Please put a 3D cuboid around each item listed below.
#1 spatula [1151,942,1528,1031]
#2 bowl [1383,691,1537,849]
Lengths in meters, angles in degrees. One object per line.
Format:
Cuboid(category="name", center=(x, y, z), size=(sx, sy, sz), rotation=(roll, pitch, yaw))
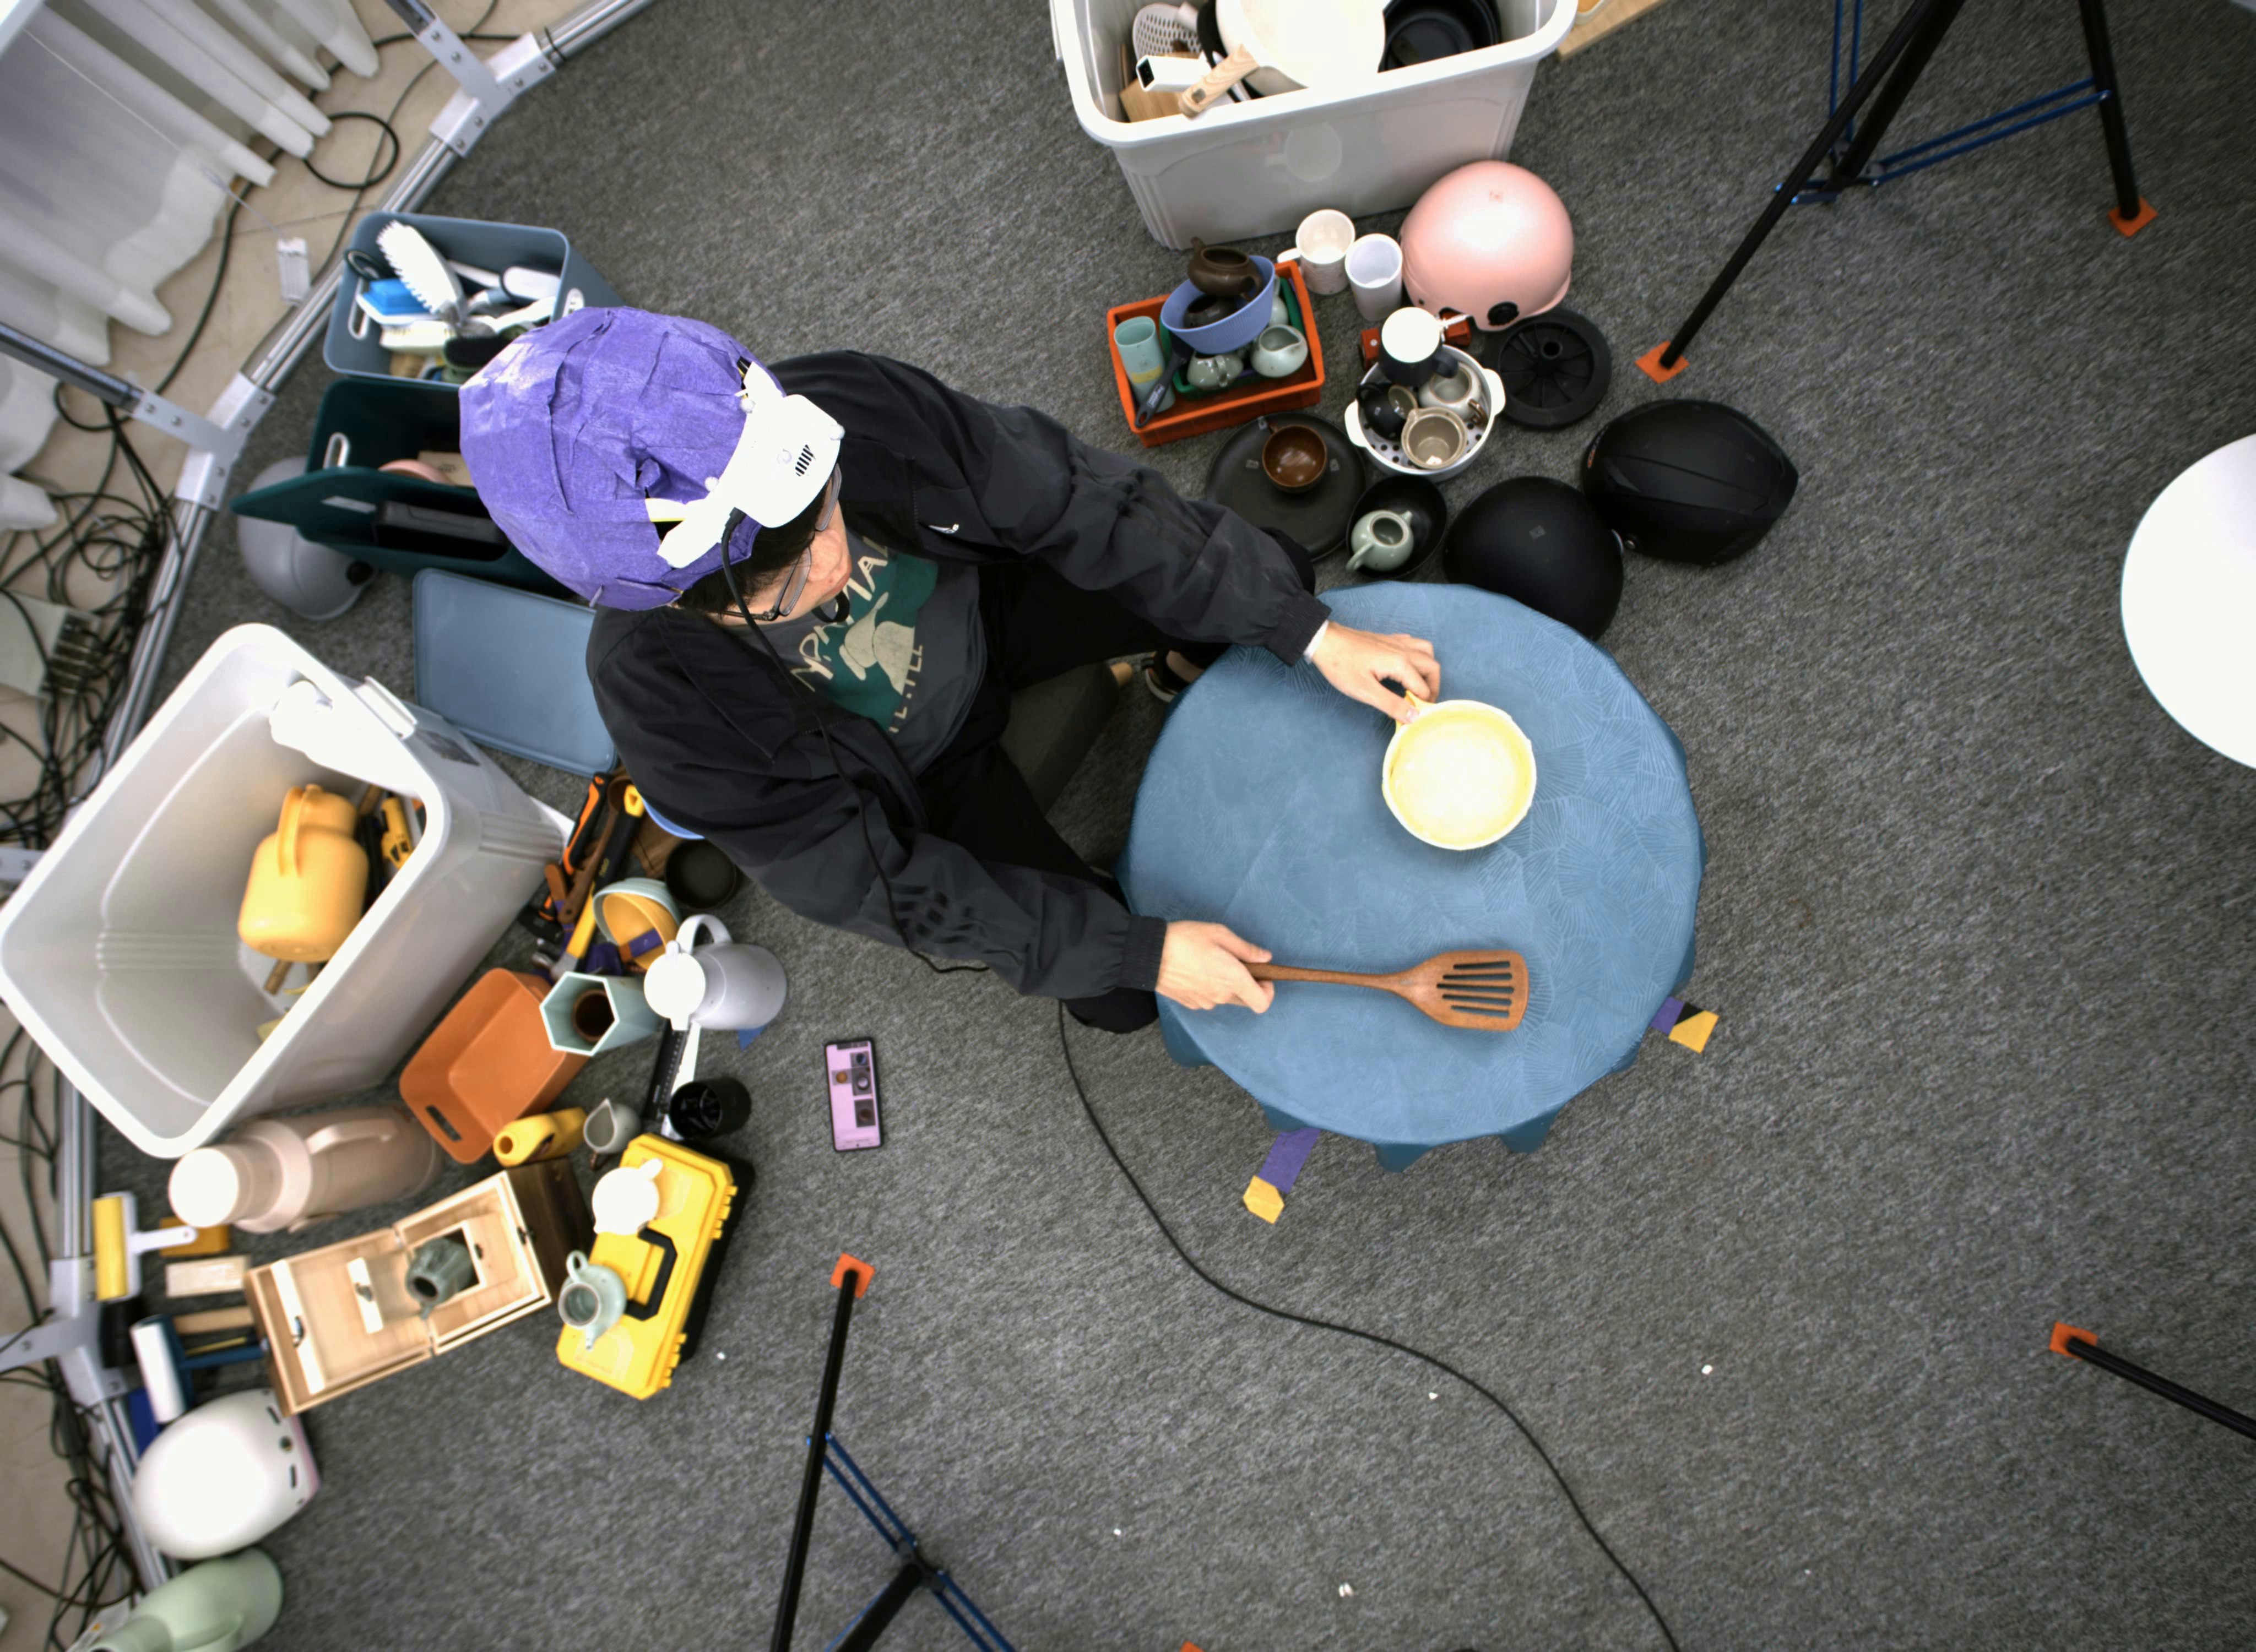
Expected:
Cuboid(category="spatula", center=(0.215, 0.151, 1.433), size=(0.388, 0.024, 0.084), rotation=(5, 74, 9))
Cuboid(category="bowl", center=(0.333, -0.063, 1.422), size=(0.153, 0.074, 0.178), rotation=(-42, 81, 5))
